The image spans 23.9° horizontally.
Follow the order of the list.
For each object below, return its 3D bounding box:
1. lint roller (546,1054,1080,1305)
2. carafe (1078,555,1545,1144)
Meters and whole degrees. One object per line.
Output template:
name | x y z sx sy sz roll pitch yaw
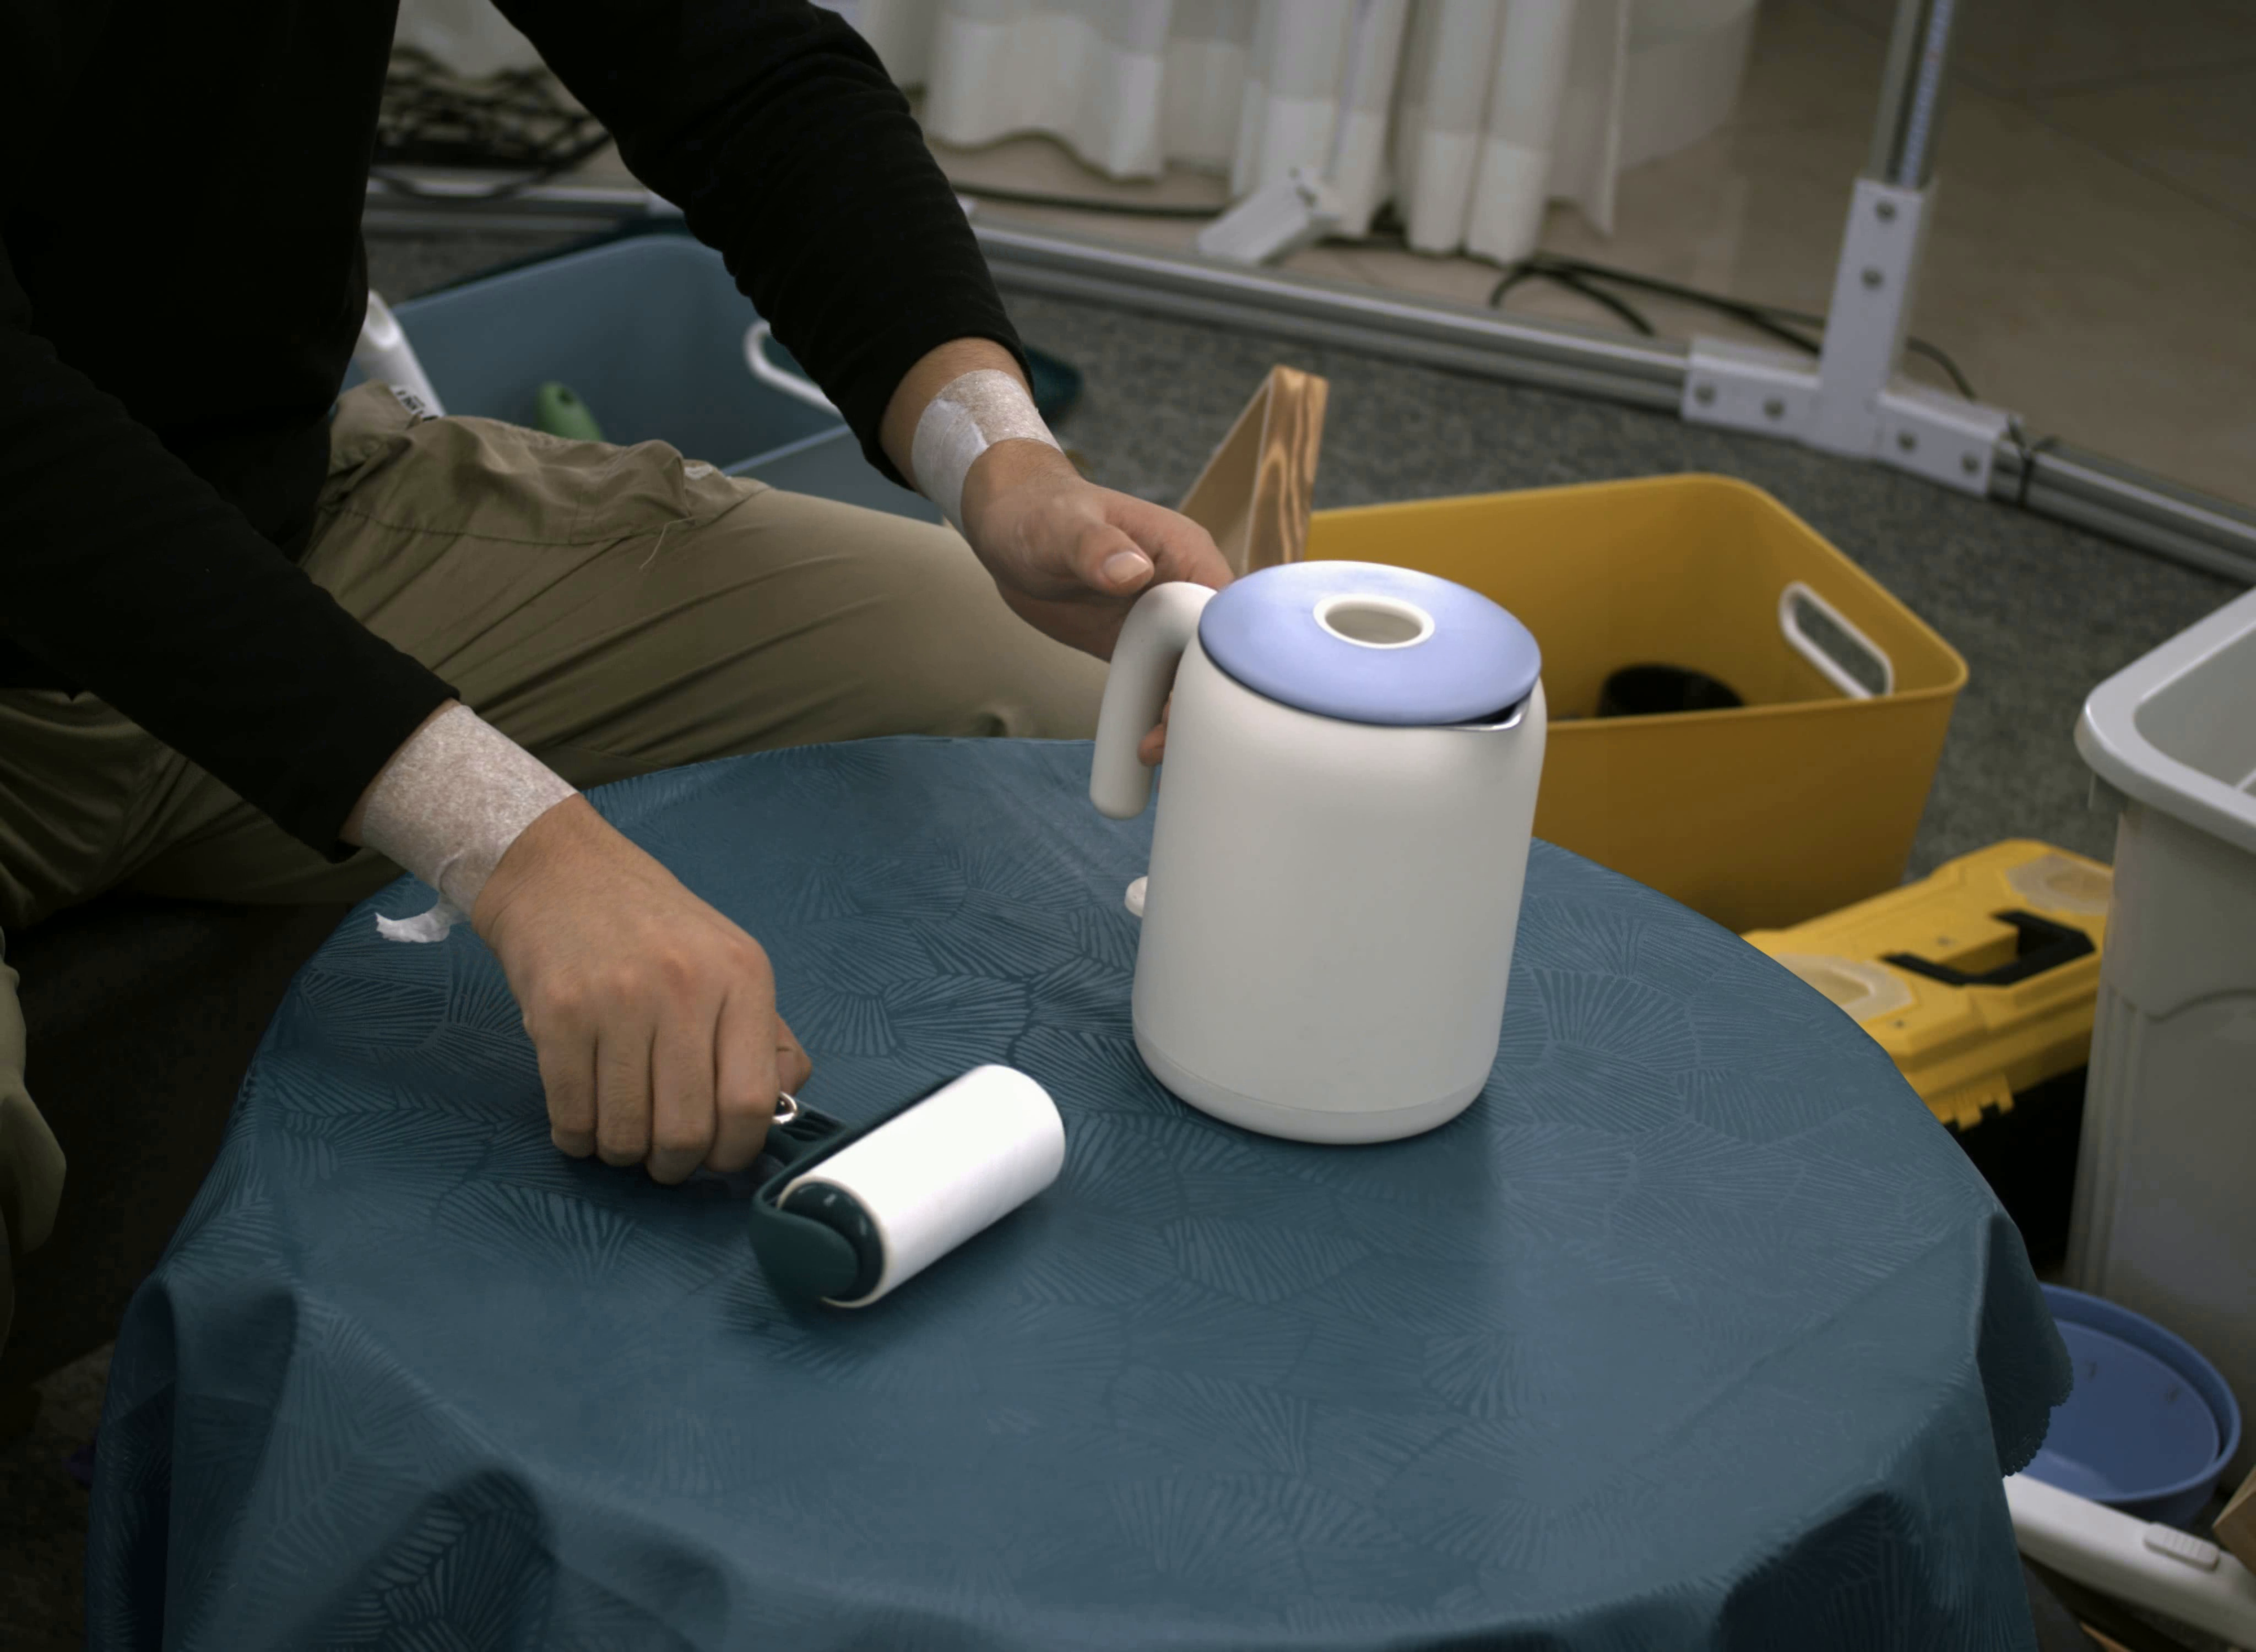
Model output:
lint roller | -0.123 0.094 1.778 0.181 0.048 0.134 23 32 30
carafe | 0.056 -0.001 1.871 0.131 0.182 0.192 -19 34 -42
